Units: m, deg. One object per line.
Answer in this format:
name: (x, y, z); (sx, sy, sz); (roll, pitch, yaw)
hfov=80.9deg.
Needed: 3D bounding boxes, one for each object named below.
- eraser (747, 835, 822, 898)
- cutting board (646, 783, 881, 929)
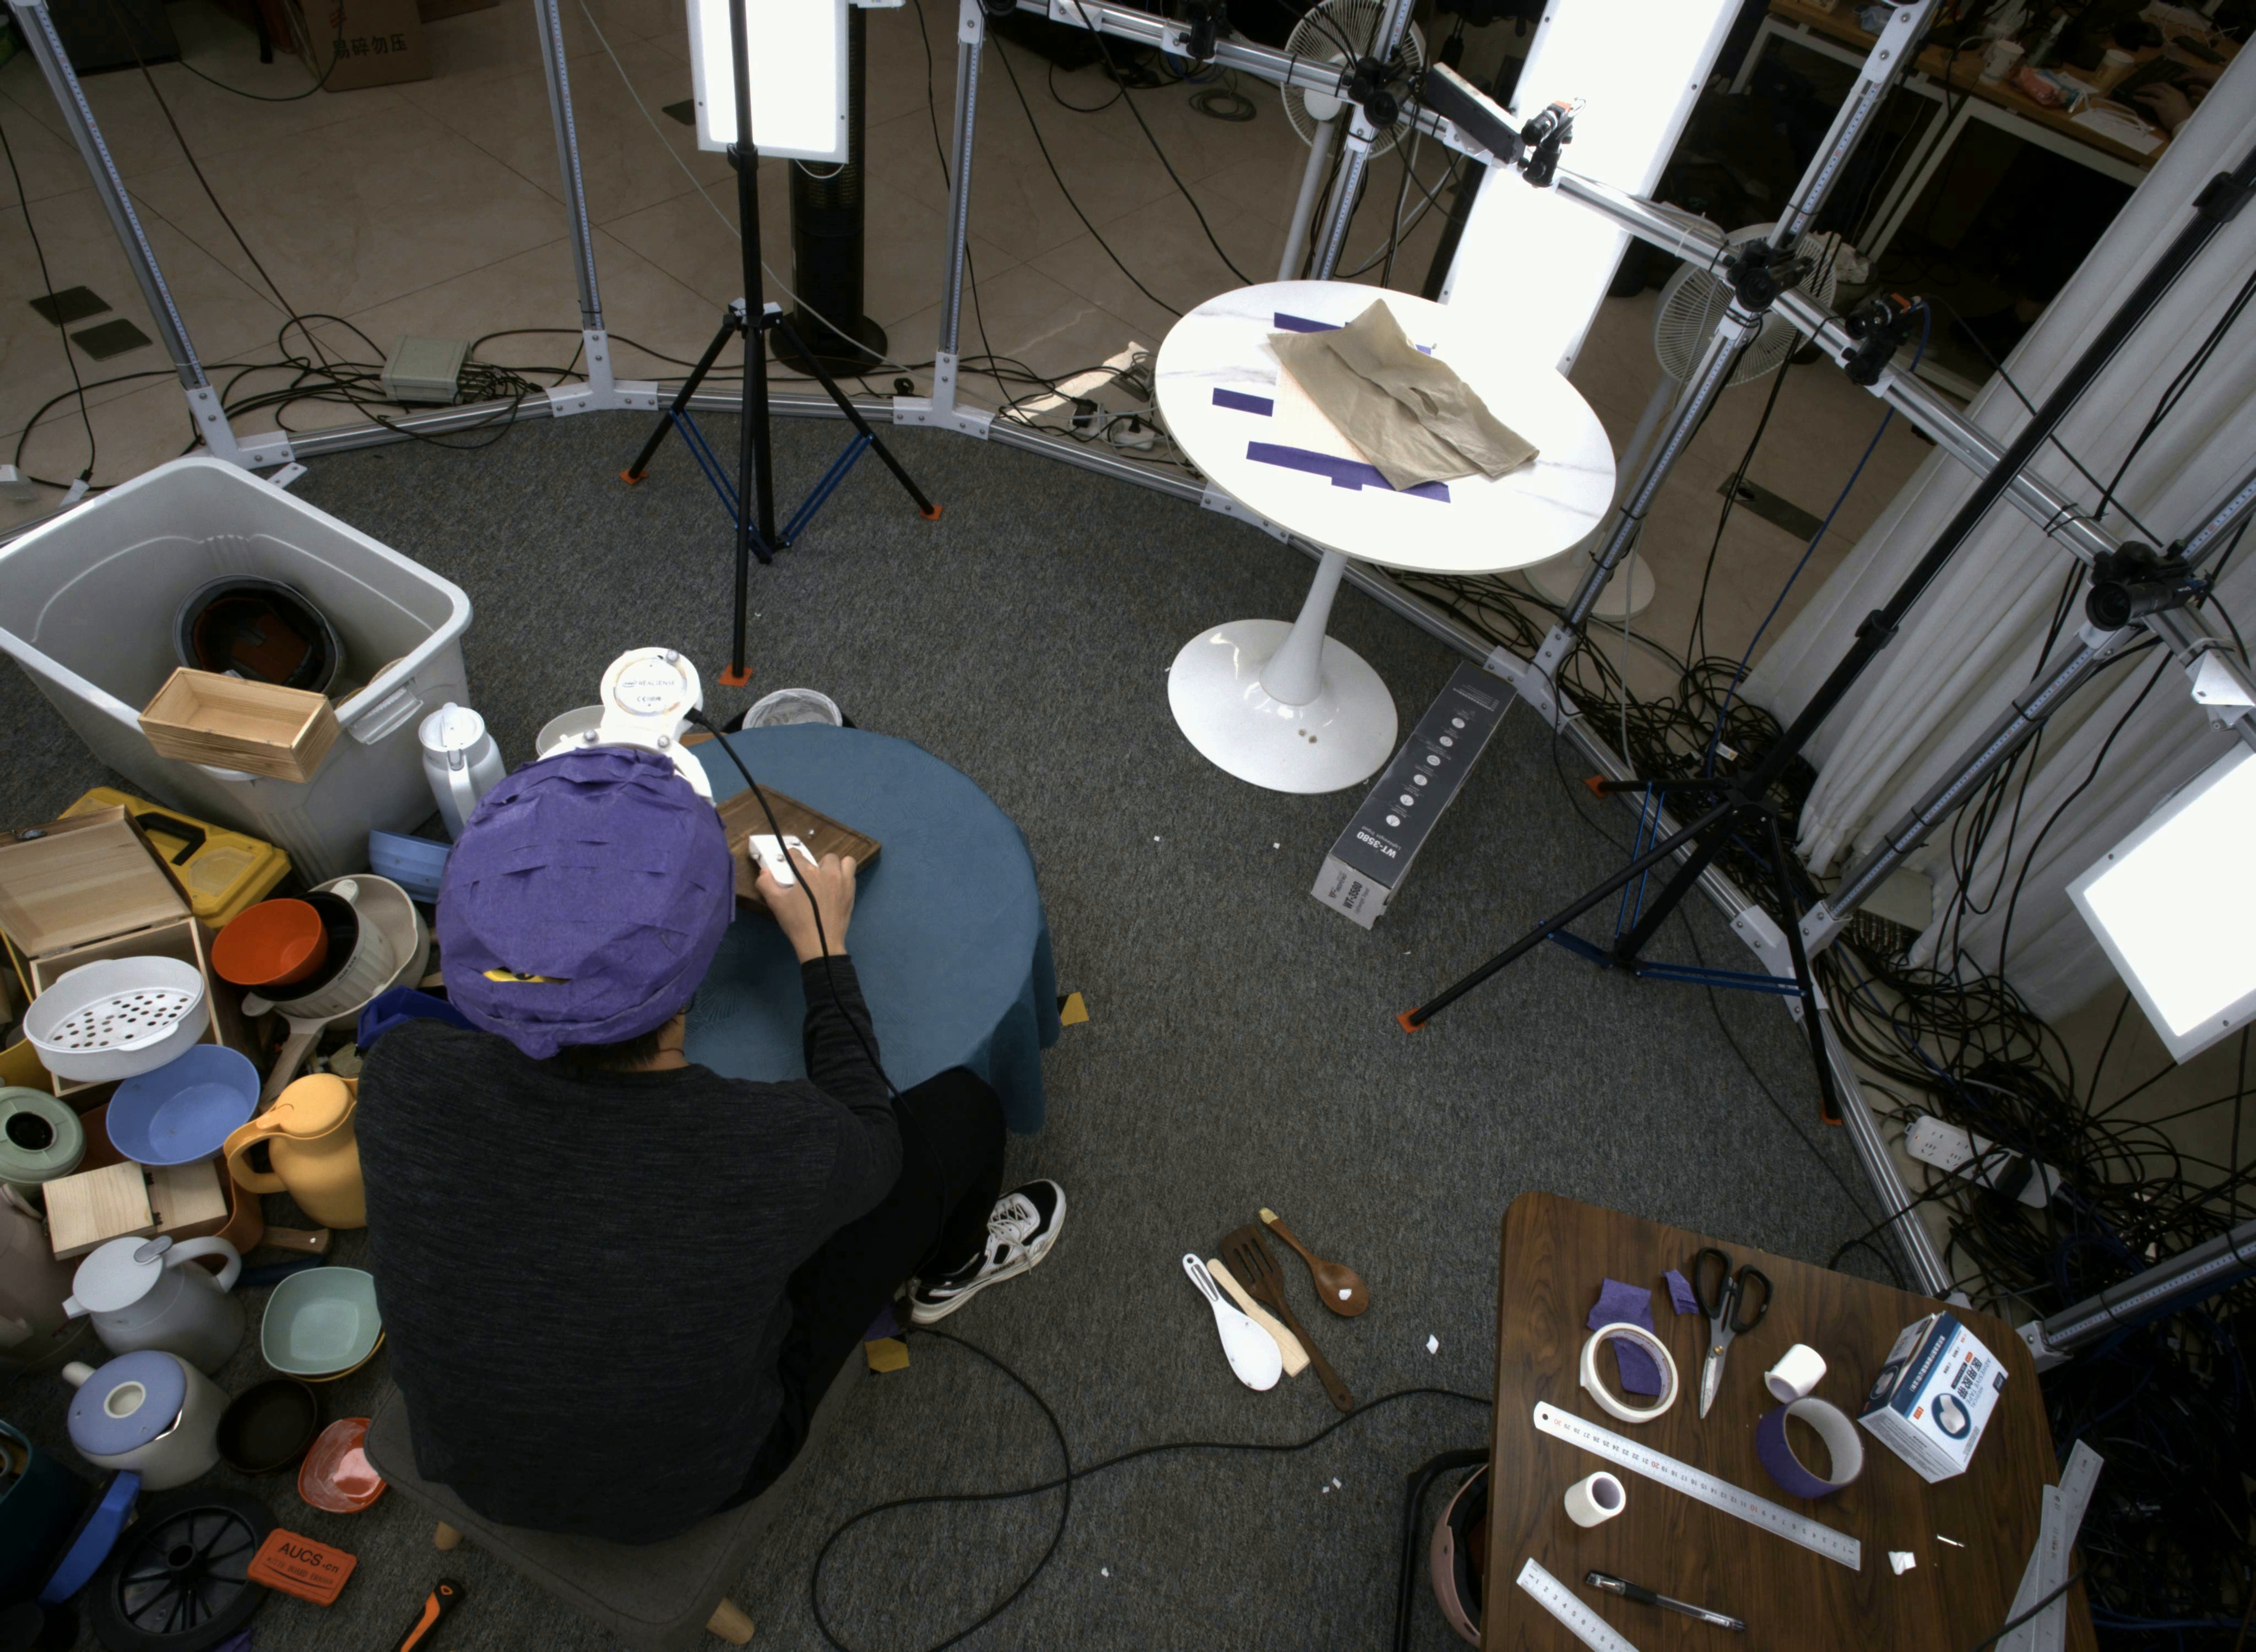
eraser: (-0.412, 0.042, 1.543); (0.064, 0.035, 0.126); (3, 23, -35)
cutting board: (-0.460, 0.043, 1.564); (0.198, 0.023, 0.351); (26, 24, 6)
